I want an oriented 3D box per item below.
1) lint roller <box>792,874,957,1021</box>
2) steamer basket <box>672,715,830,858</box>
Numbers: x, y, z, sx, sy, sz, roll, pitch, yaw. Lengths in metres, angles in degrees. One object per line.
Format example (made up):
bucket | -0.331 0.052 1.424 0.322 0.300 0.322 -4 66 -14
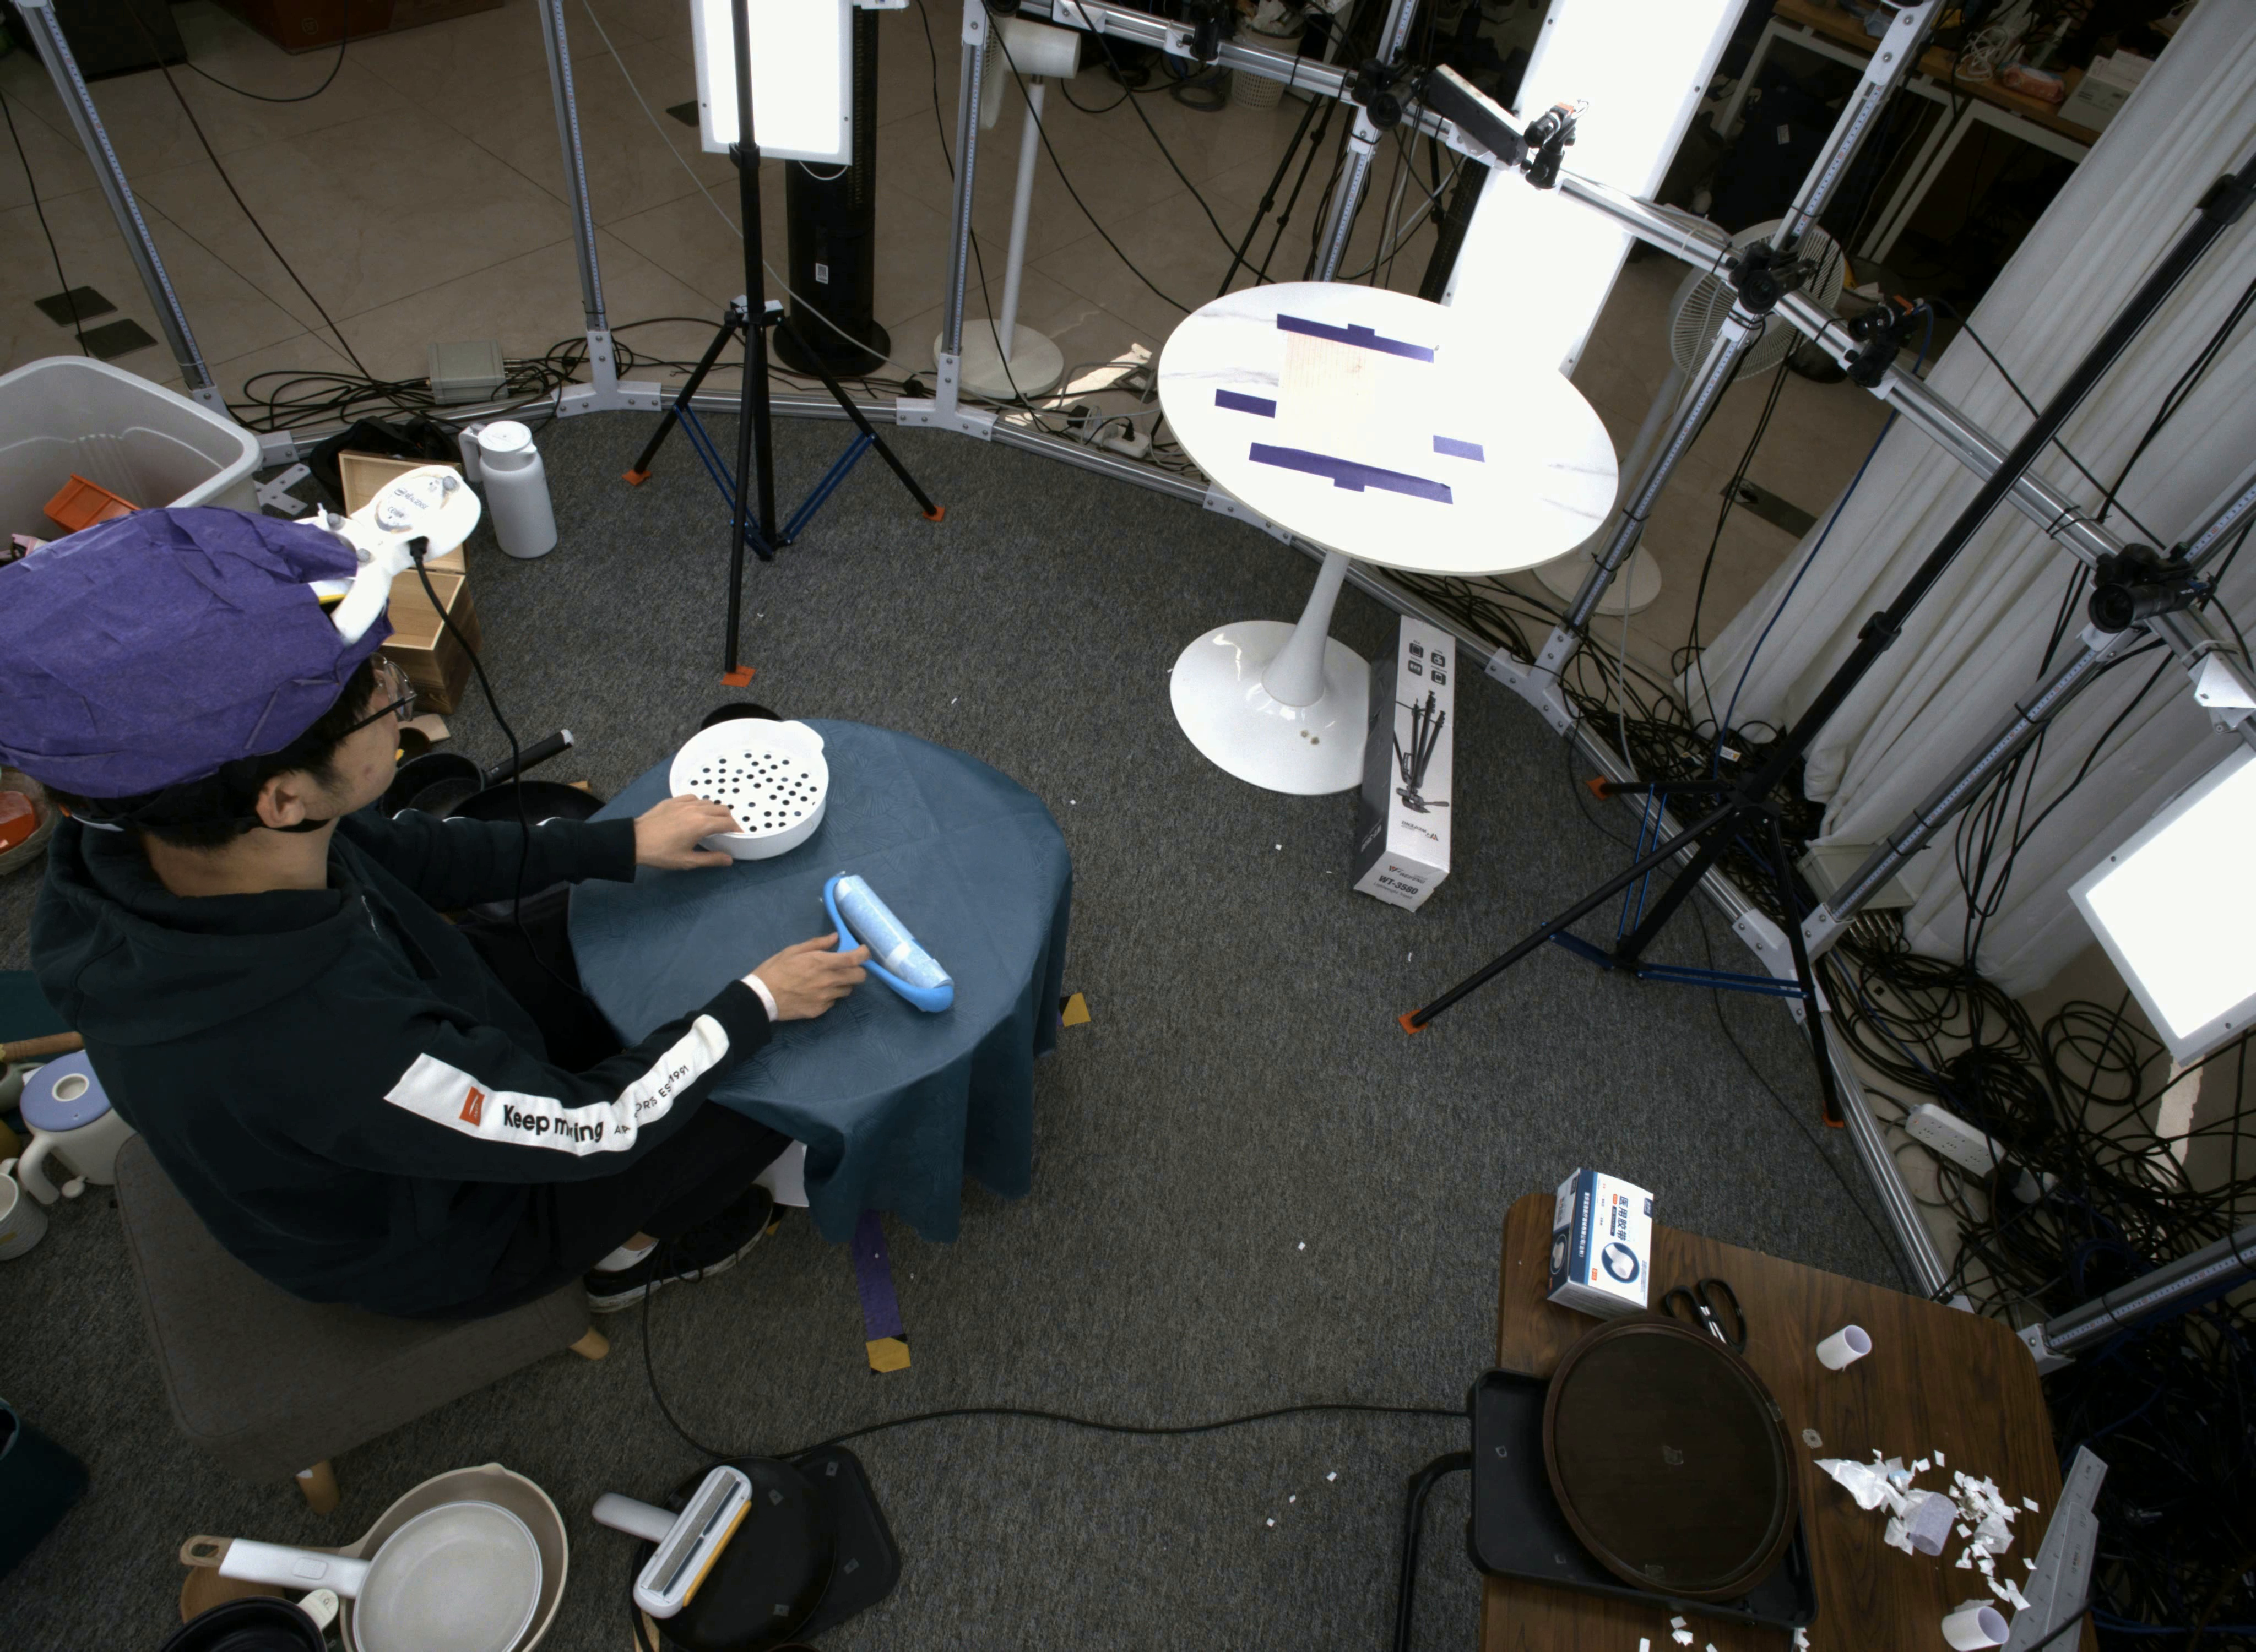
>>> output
lint roller | -0.335 0.170 1.593 0.225 0.069 0.180 42 54 14
steamer basket | -0.494 -0.051 1.705 0.198 0.070 0.230 34 54 12
